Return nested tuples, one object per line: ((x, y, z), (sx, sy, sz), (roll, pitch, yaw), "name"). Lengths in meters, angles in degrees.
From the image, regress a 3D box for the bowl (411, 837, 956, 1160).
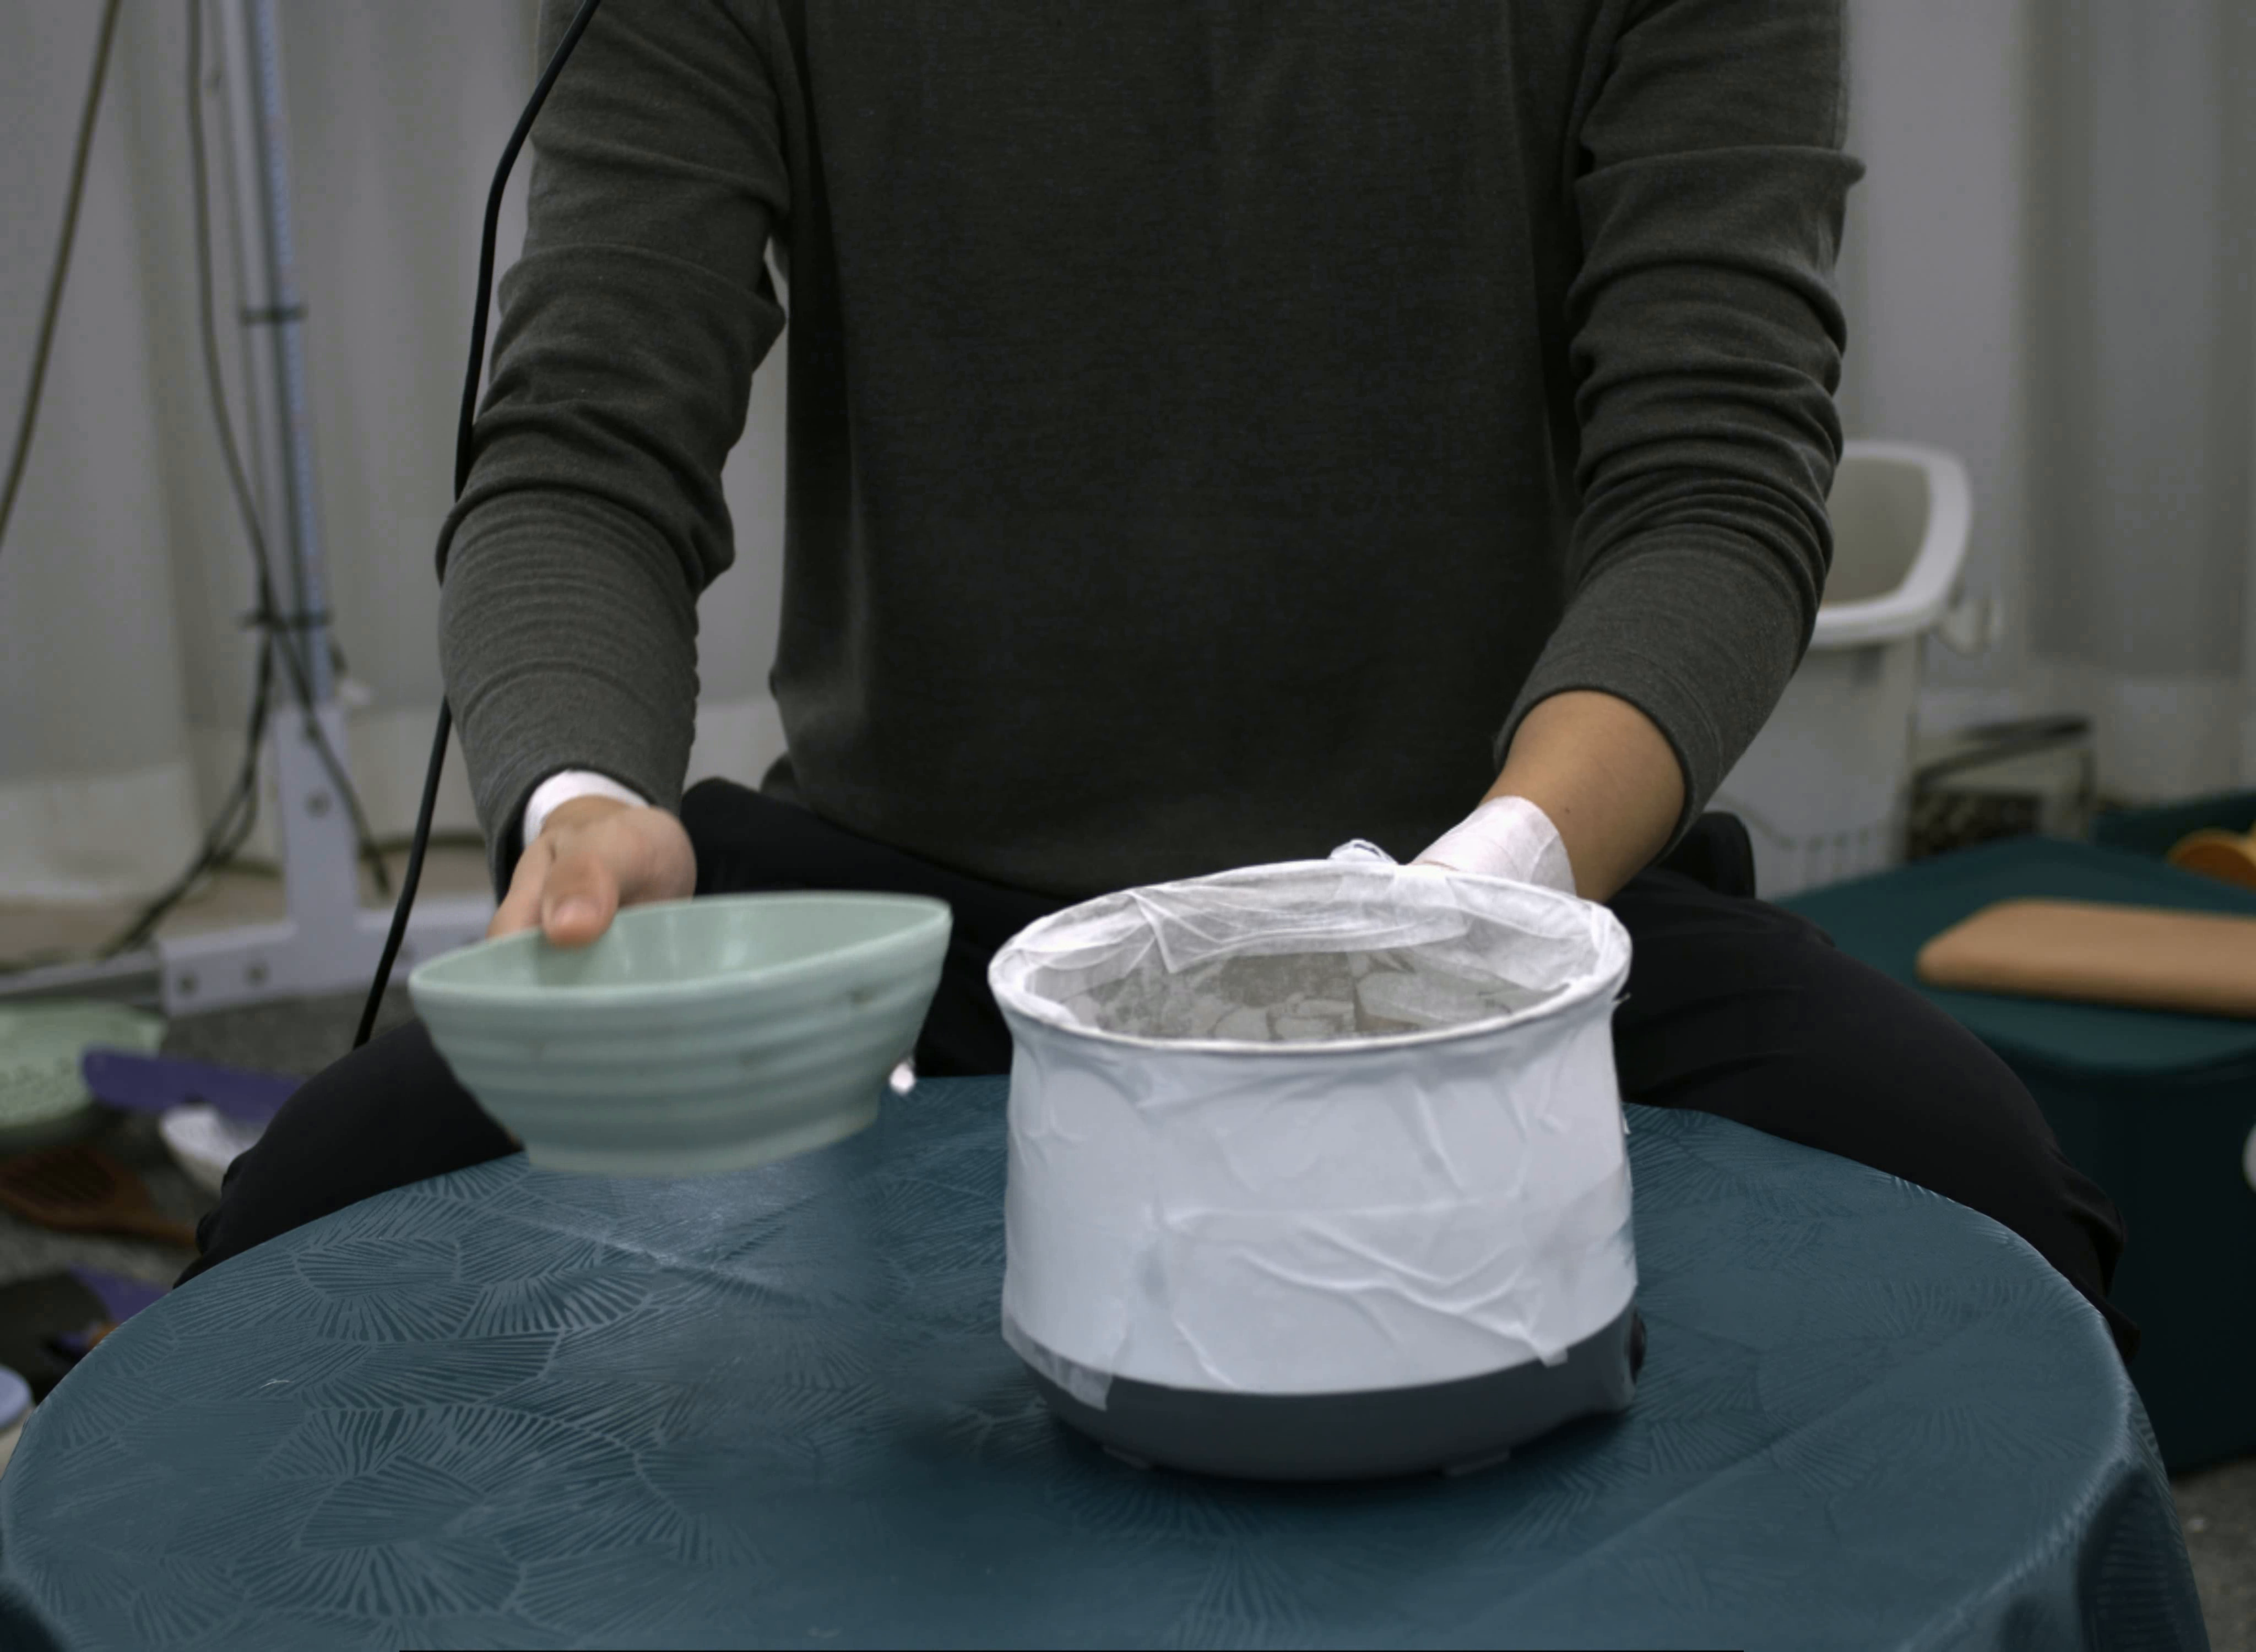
((-0.120, 0.050, 1.514), (0.151, 0.058, 0.152), (-5, 15, 1), "bowl")

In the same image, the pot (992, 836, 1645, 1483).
((0.057, 0.088, 1.540), (0.178, 0.136, 0.235), (0, 15, 10), "pot")
